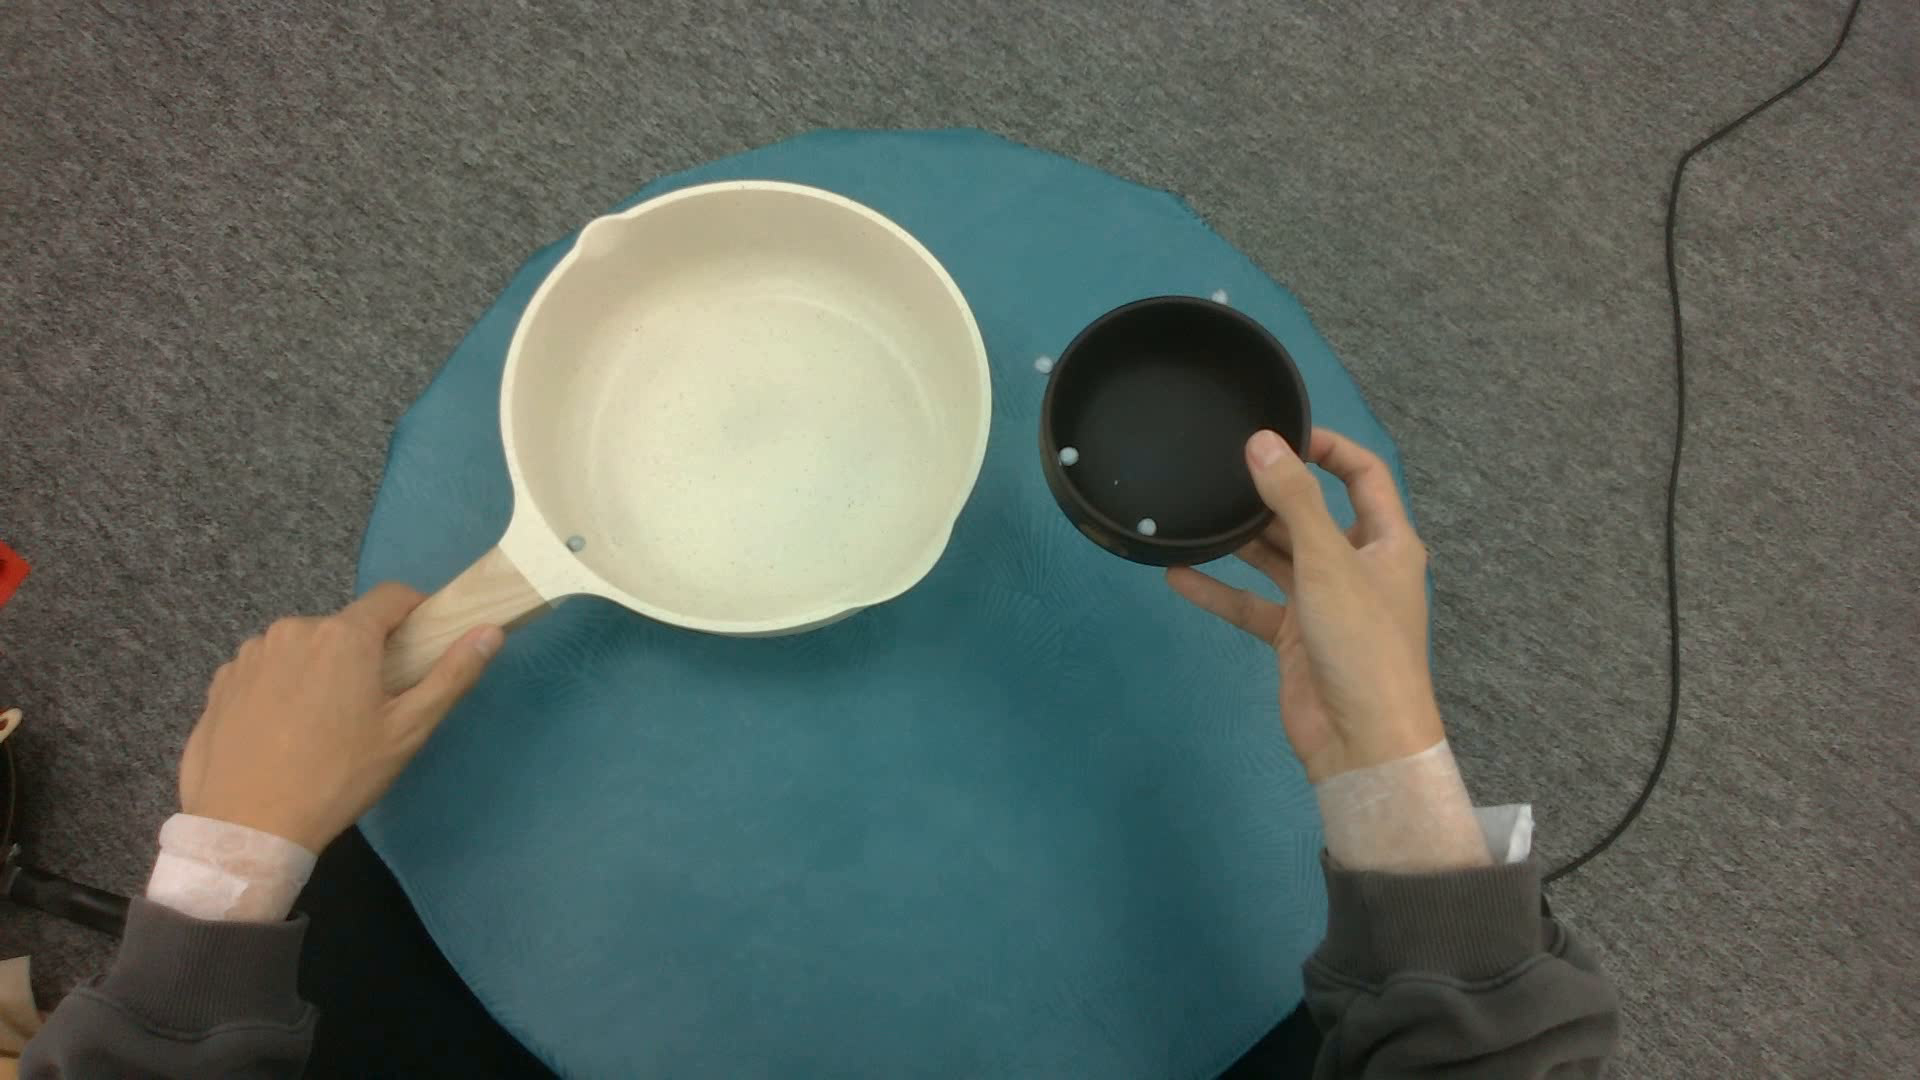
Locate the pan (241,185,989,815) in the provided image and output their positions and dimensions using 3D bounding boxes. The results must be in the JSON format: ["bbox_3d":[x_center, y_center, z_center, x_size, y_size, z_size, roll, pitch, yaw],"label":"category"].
[{"bbox_3d":[-0.178,-0.007,0.738,0.436,0.101,0.263,-41,80,-12],"label":"pan"}]

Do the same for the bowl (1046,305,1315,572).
[{"bbox_3d":[0.097,-0.041,0.630,0.118,0.069,0.118,0,75,0],"label":"bowl"}]
